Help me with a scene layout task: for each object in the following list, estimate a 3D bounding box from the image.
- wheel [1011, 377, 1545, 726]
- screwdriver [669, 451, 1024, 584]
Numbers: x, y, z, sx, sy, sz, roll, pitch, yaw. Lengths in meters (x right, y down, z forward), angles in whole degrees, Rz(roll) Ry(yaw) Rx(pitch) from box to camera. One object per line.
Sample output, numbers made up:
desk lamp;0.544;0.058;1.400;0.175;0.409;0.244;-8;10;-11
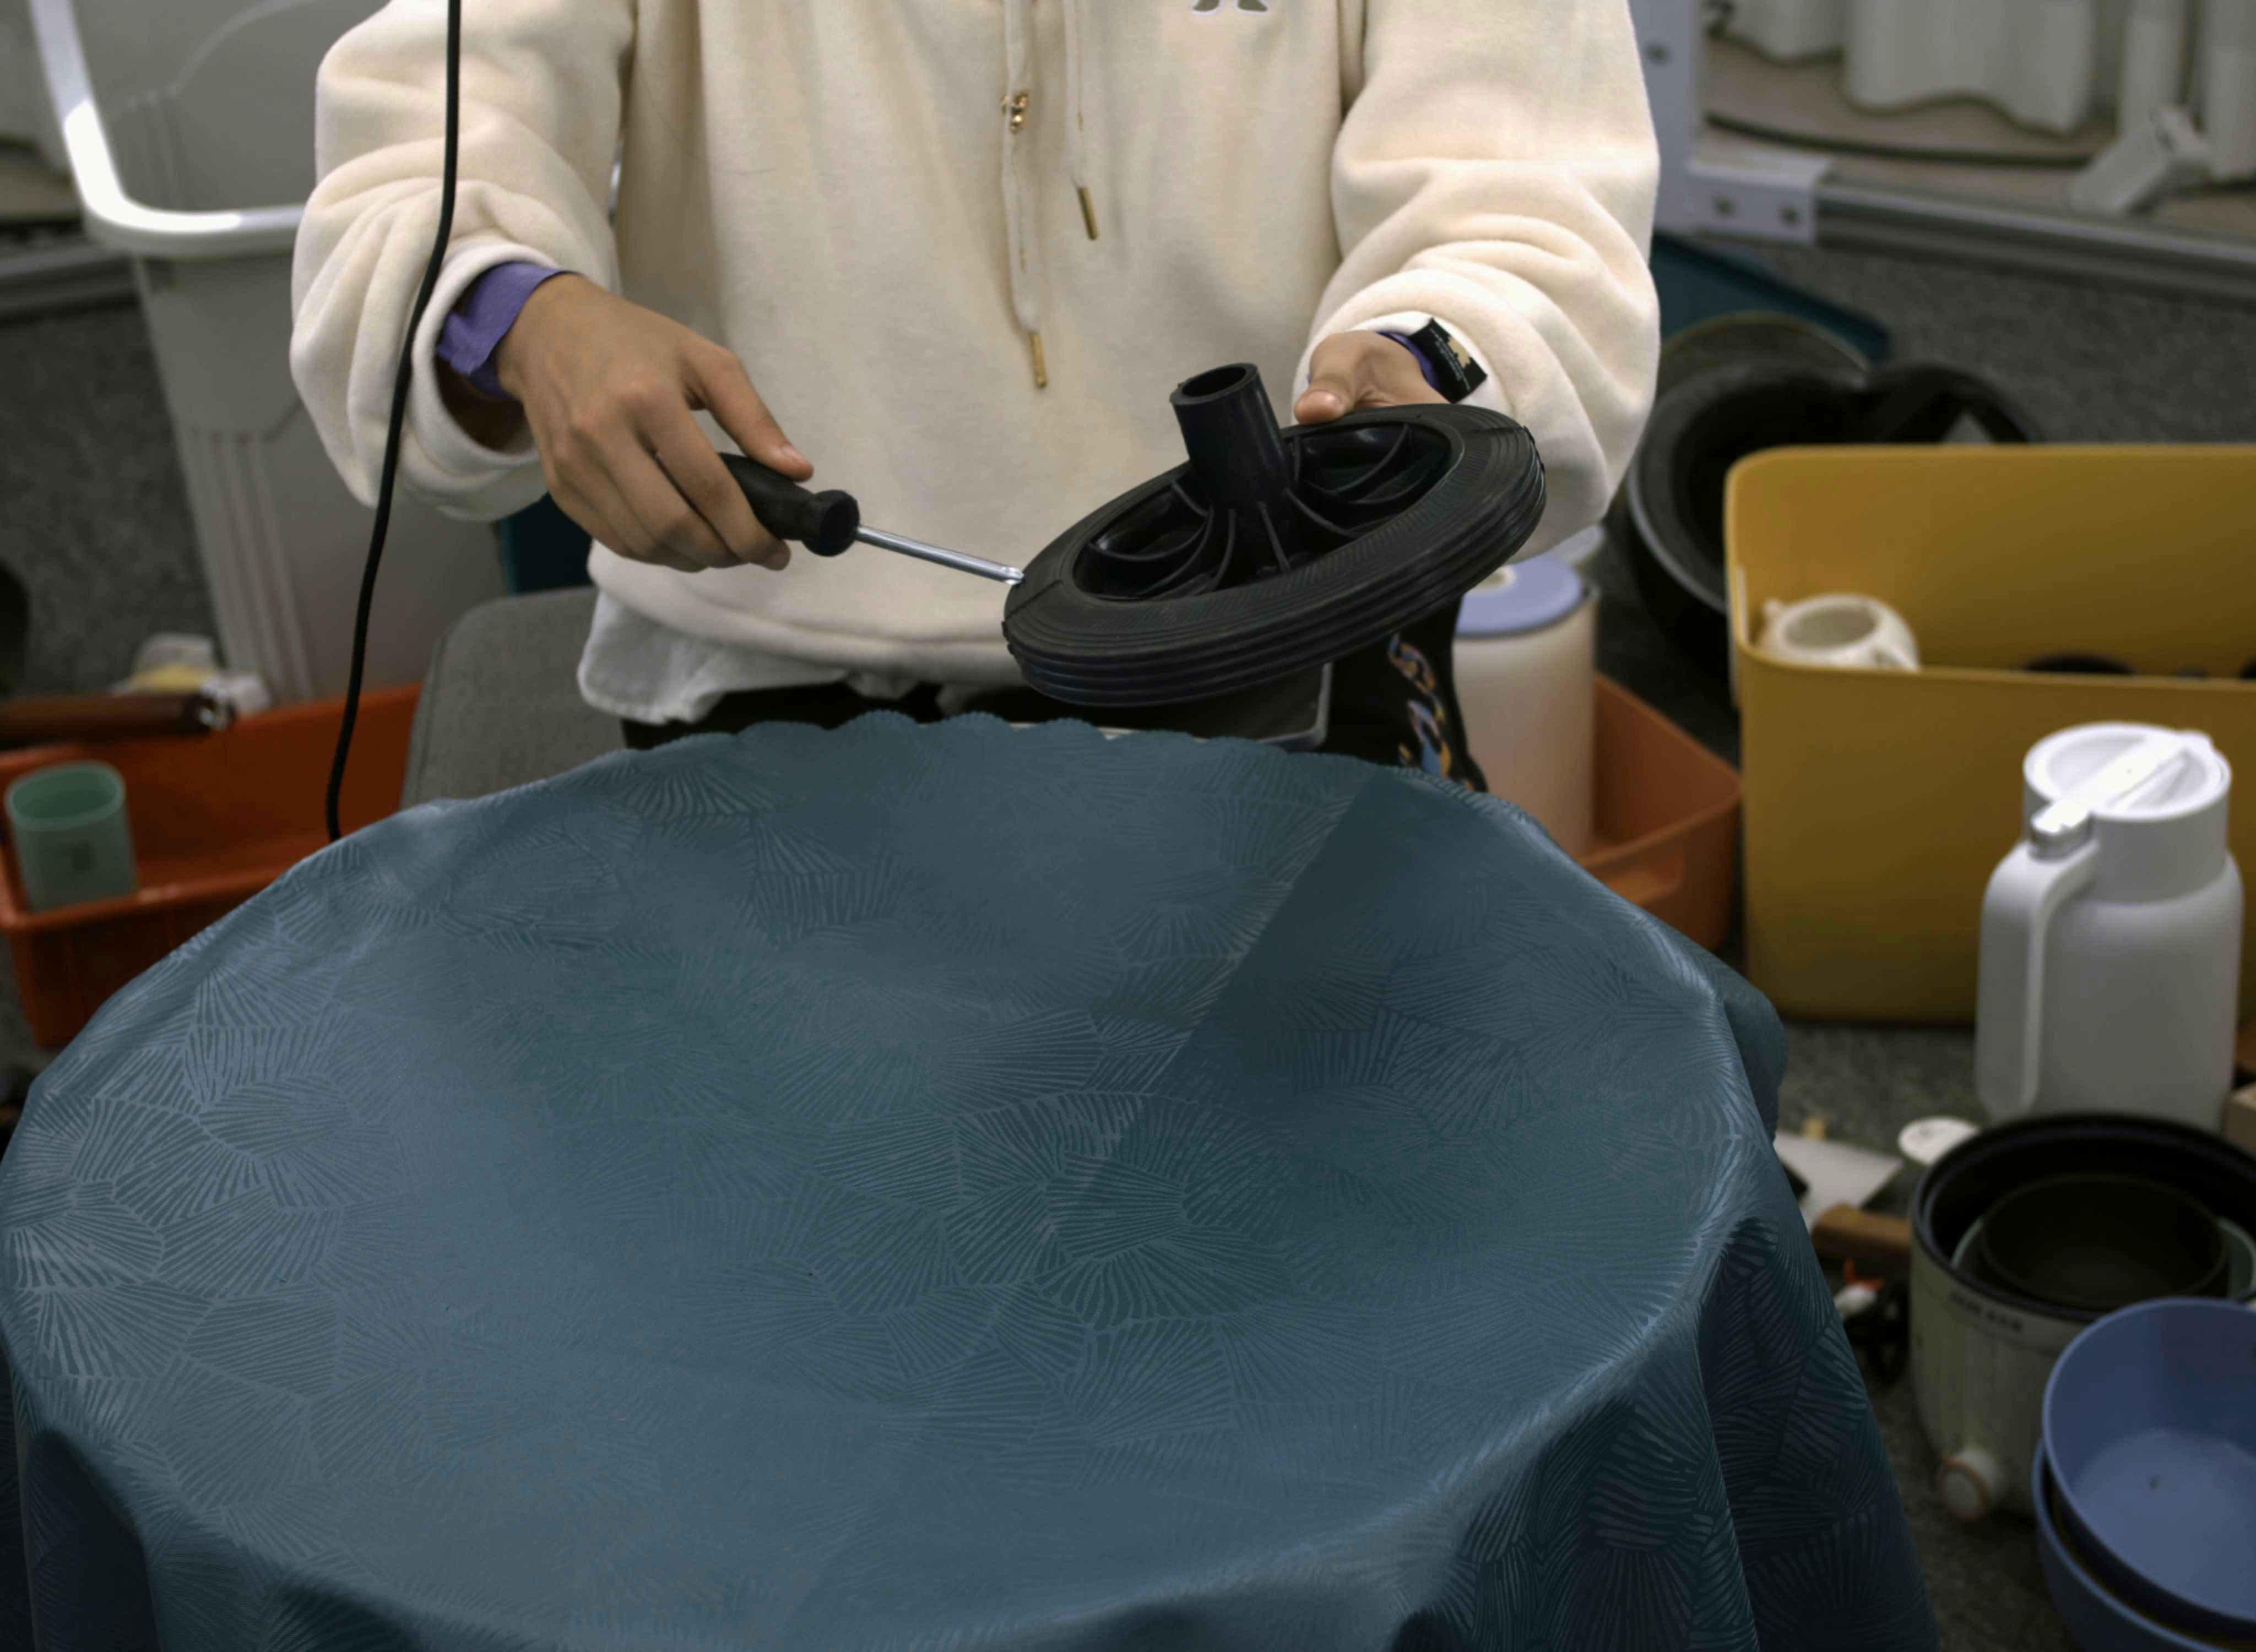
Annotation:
wheel;0.042;-0.107;1.879;0.185;0.078;0.193;-7;27;33
screwdriver;-0.098;-0.108;1.974;0.032;0.031;0.195;-24;24;-35
